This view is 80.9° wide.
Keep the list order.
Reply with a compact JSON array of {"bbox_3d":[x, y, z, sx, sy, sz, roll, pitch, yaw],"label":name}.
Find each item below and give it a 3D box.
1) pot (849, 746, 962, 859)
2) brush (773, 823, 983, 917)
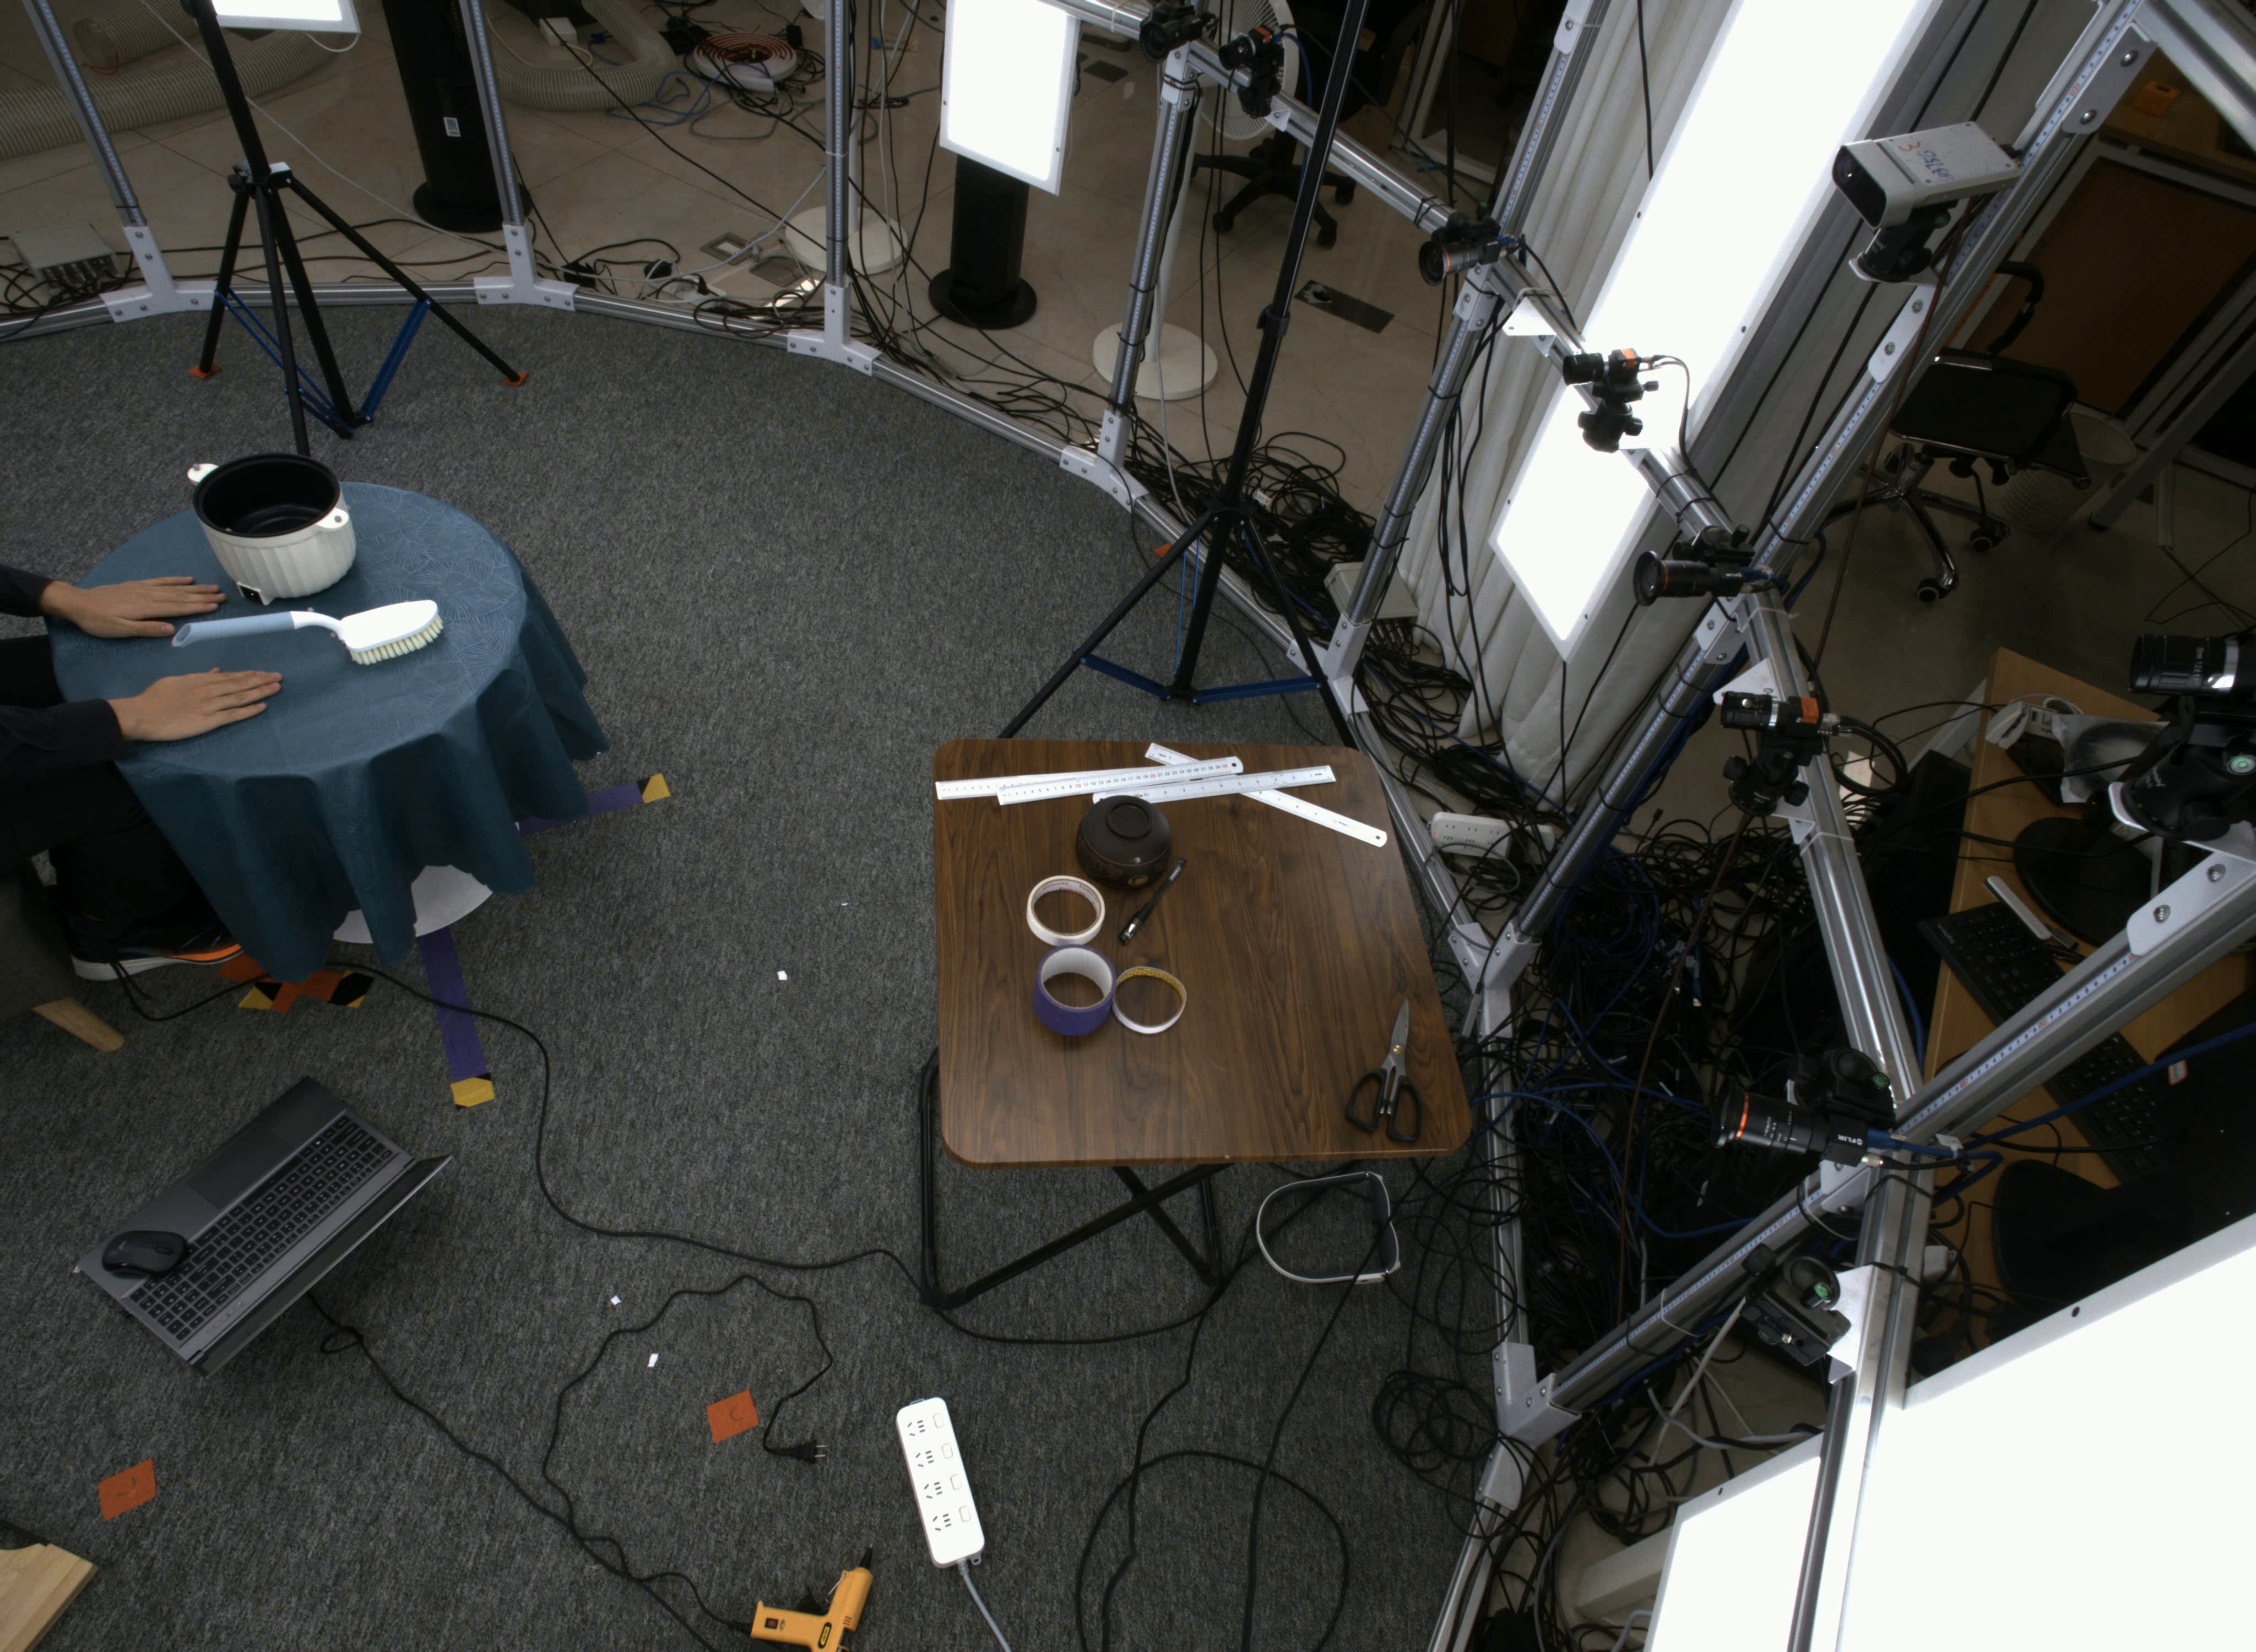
[{"bbox_3d":[-0.362,-0.036,2.141,0.192,0.147,0.231,-18,35,-39],"label":"pot"},{"bbox_3d":[-0.378,0.078,1.958,0.326,0.084,0.083,16,-14,-11],"label":"brush"}]
